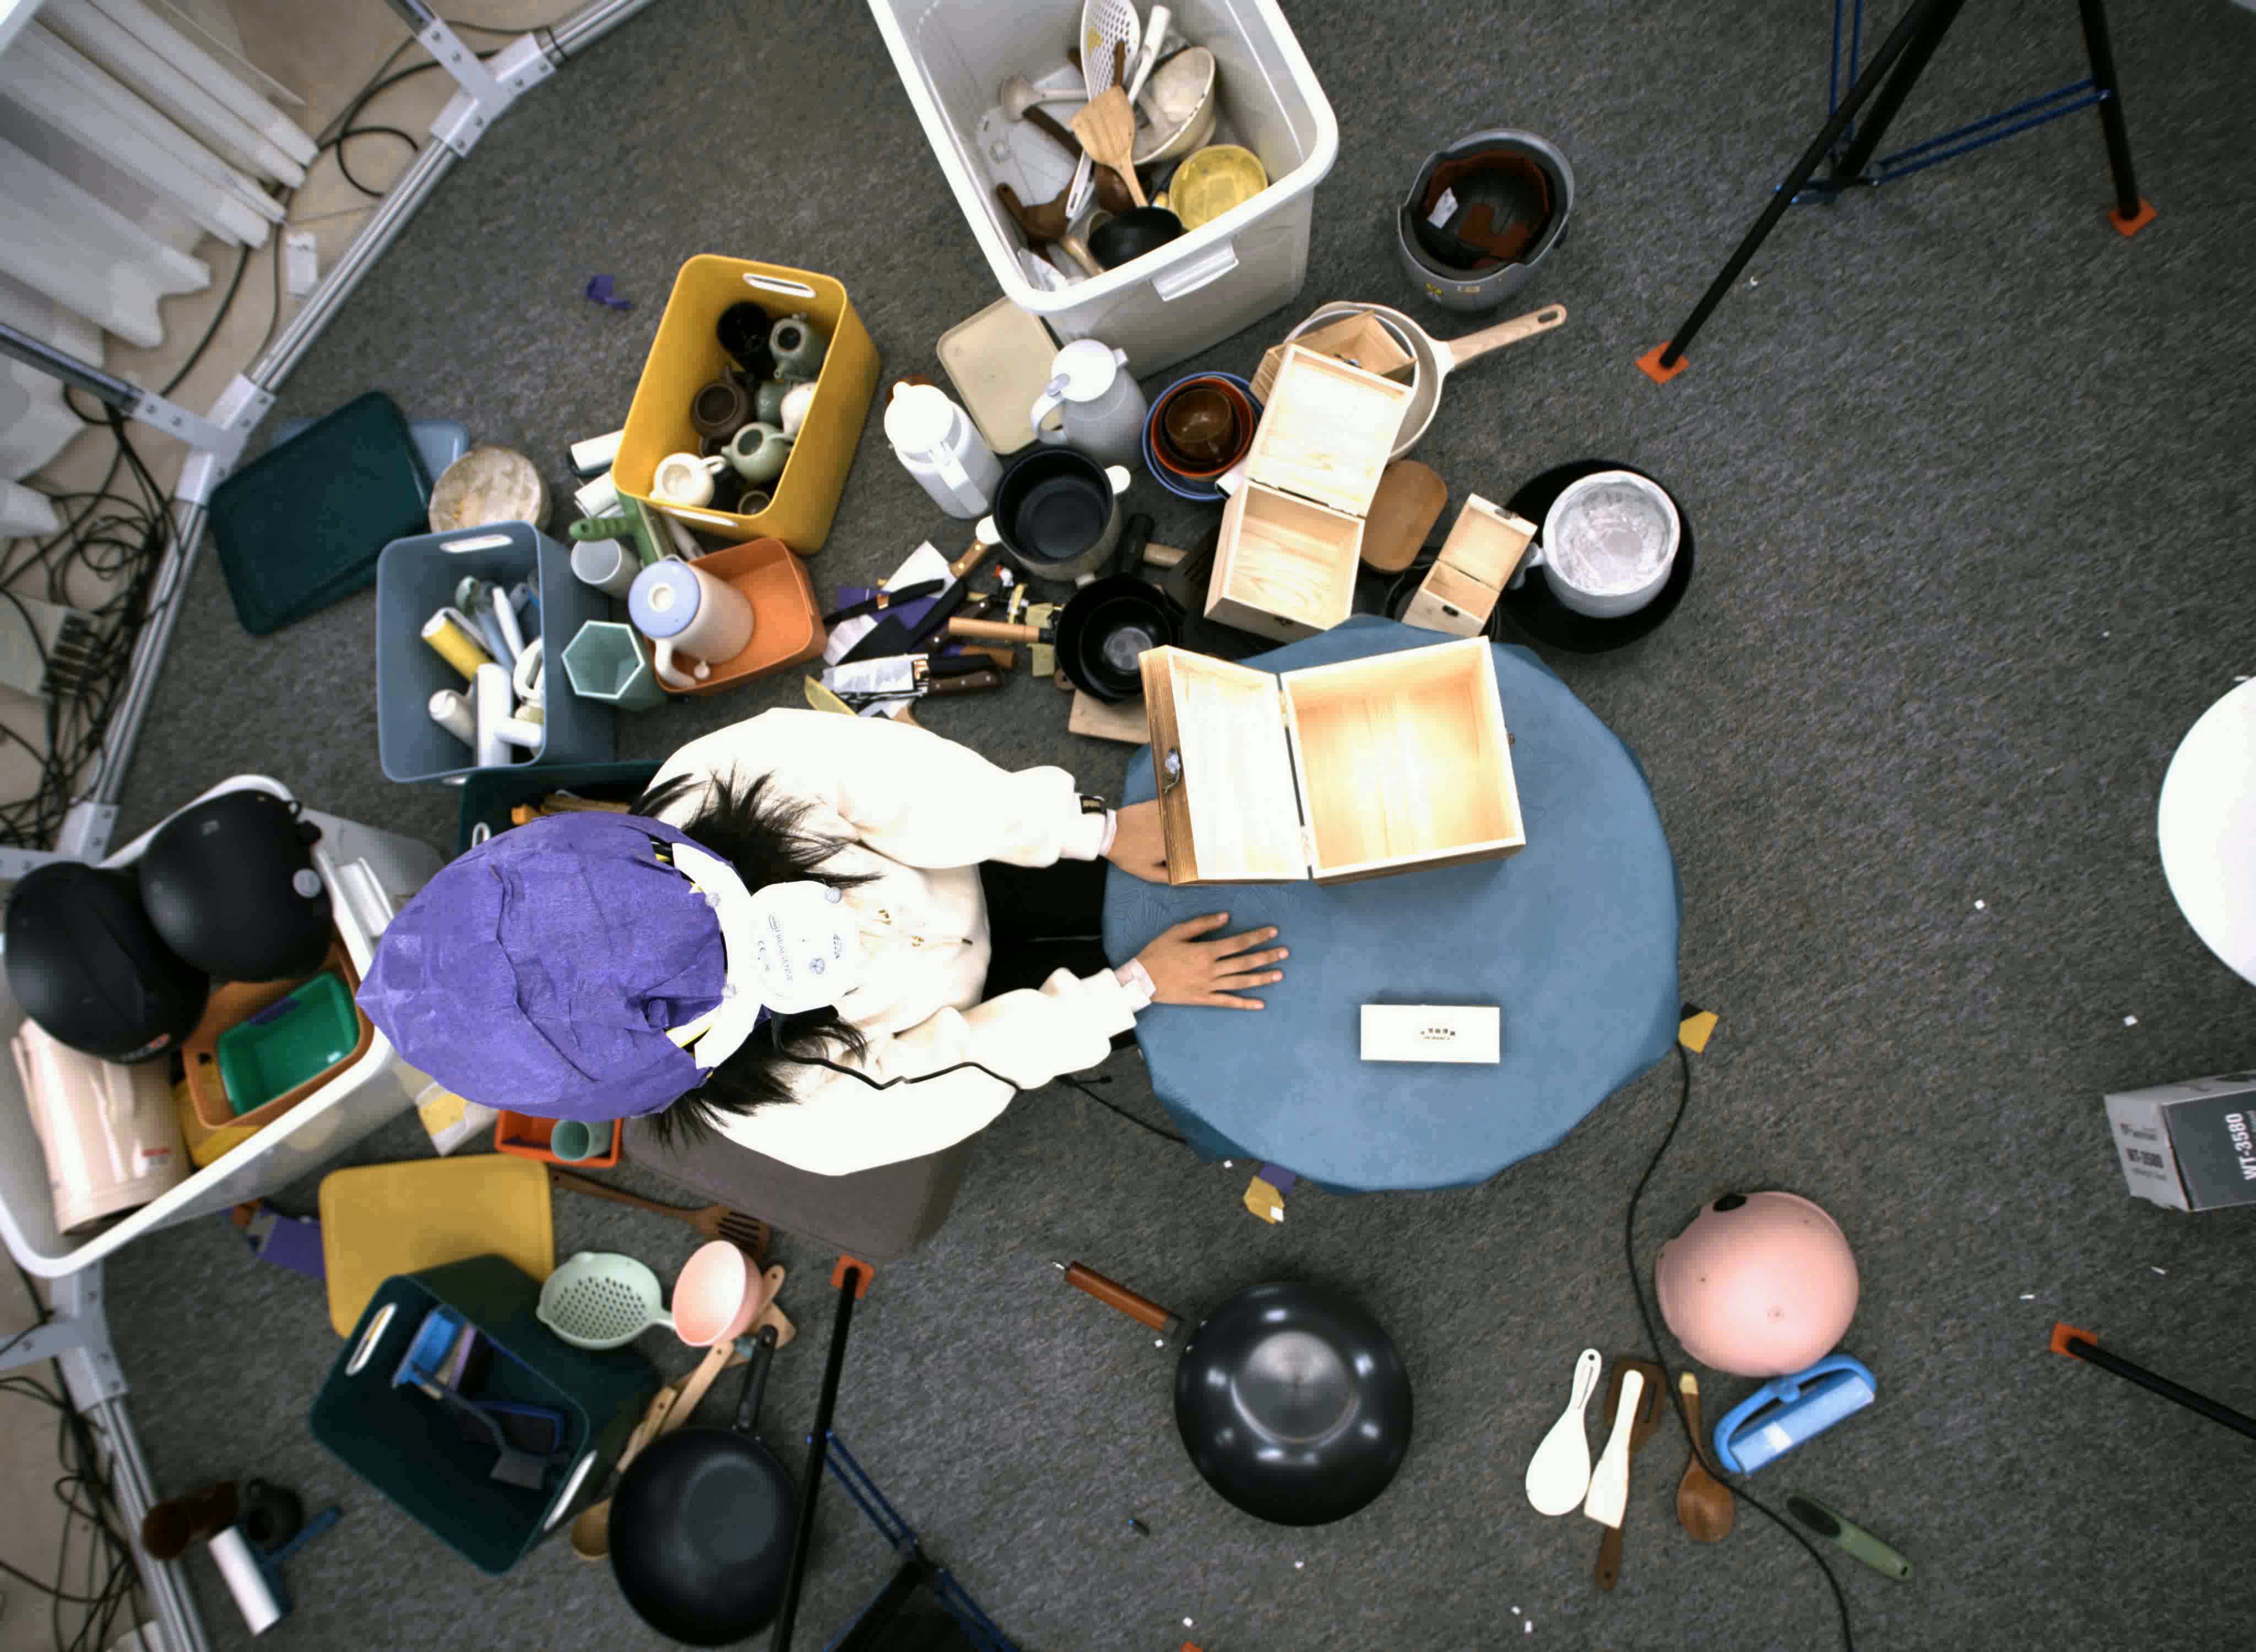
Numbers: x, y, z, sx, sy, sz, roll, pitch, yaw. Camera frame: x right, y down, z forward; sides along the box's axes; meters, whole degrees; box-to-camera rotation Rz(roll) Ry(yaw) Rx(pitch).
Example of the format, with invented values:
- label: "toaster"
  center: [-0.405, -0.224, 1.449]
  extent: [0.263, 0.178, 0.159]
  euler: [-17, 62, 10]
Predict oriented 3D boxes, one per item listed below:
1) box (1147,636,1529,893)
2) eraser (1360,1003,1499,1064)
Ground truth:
- label: "box"
  center: [0.206, -0.057, 1.295]
  extent: [0.324, 0.375, 0.207]
  euler: [-10, 84, 9]
- label: "eraser"
  center: [0.312, 0.212, 1.430]
  extent: [0.140, 0.029, 0.057]
  euler: [1, 89, 11]
